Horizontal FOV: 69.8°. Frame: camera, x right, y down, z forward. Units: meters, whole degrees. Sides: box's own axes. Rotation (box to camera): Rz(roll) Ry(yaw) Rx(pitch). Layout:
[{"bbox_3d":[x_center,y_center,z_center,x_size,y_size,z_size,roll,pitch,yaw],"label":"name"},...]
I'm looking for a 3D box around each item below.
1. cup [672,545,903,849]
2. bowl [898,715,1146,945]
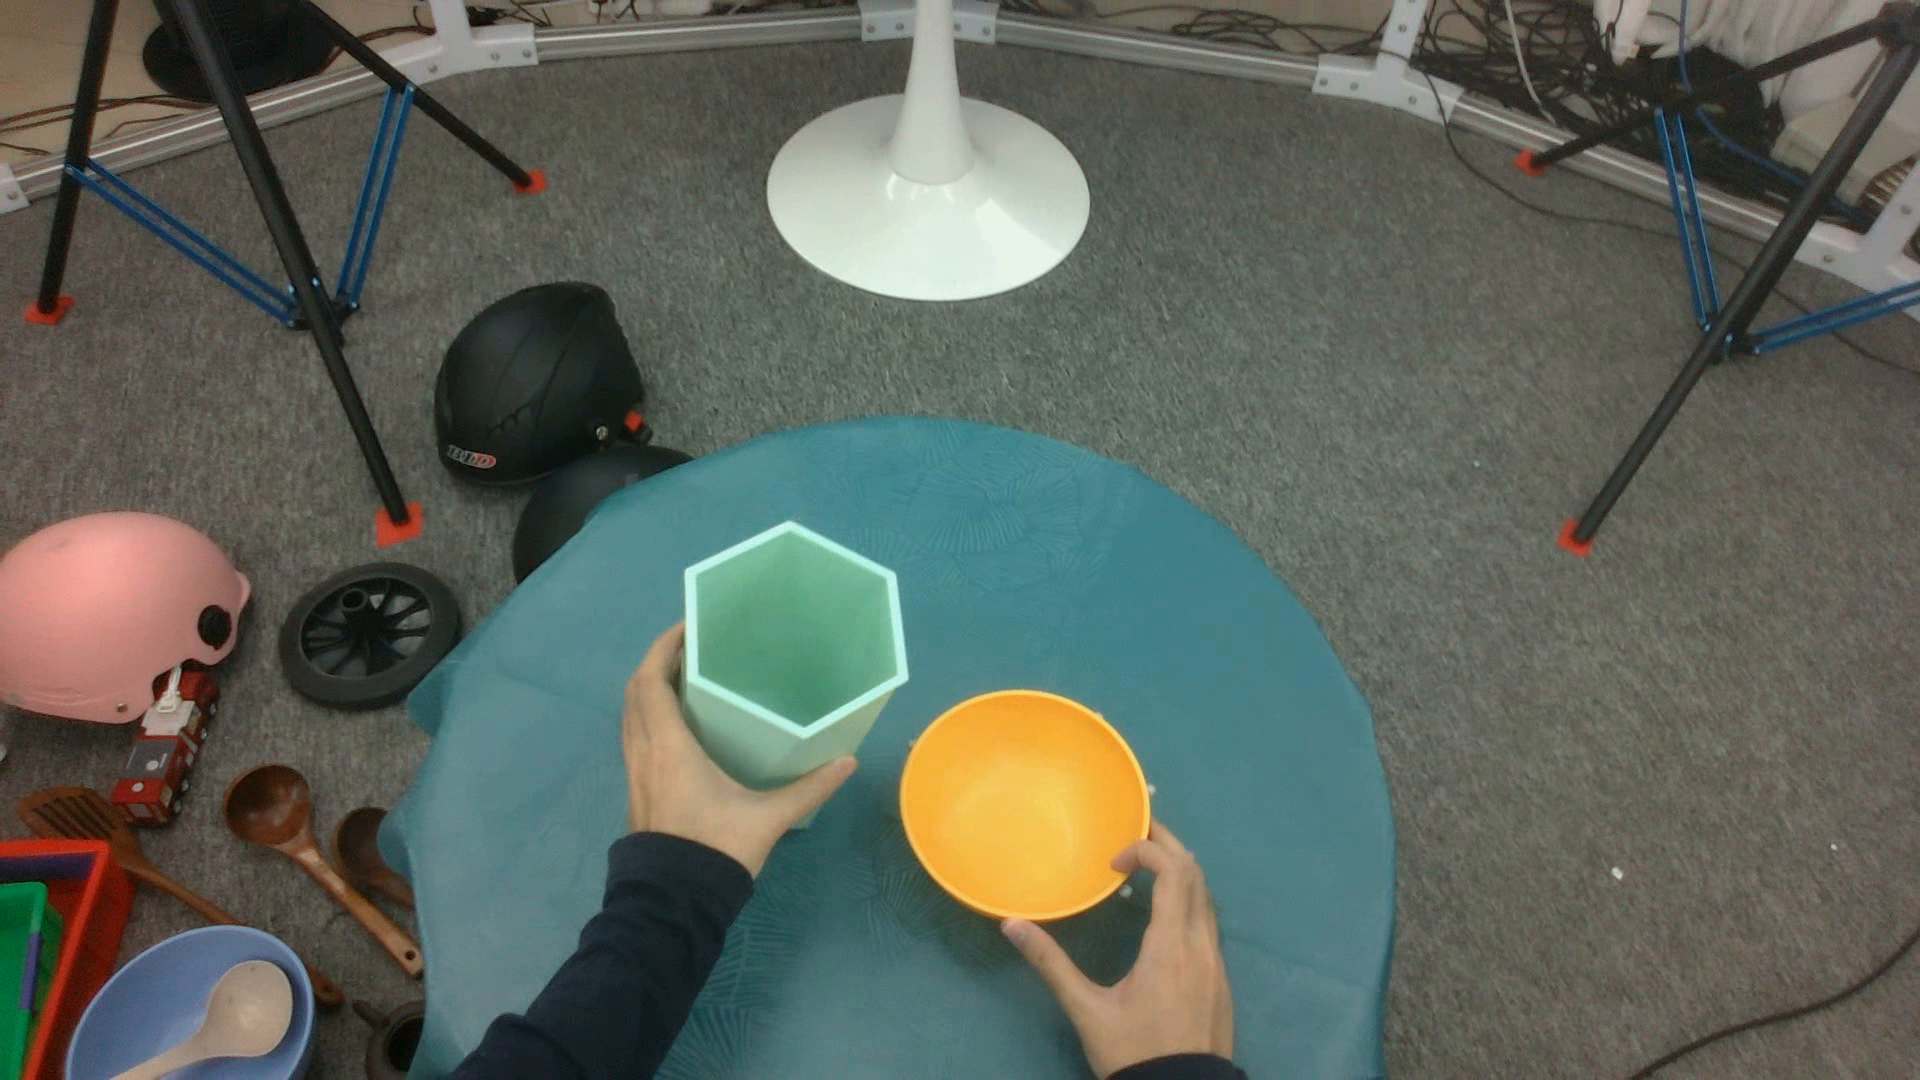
[{"bbox_3d":[-0.108,0.101,0.792,0.131,0.162,0.116,24,52,1],"label":"cup"},{"bbox_3d":[0.036,0.181,0.821,0.145,0.060,0.146,1,52,-1],"label":"bowl"}]
